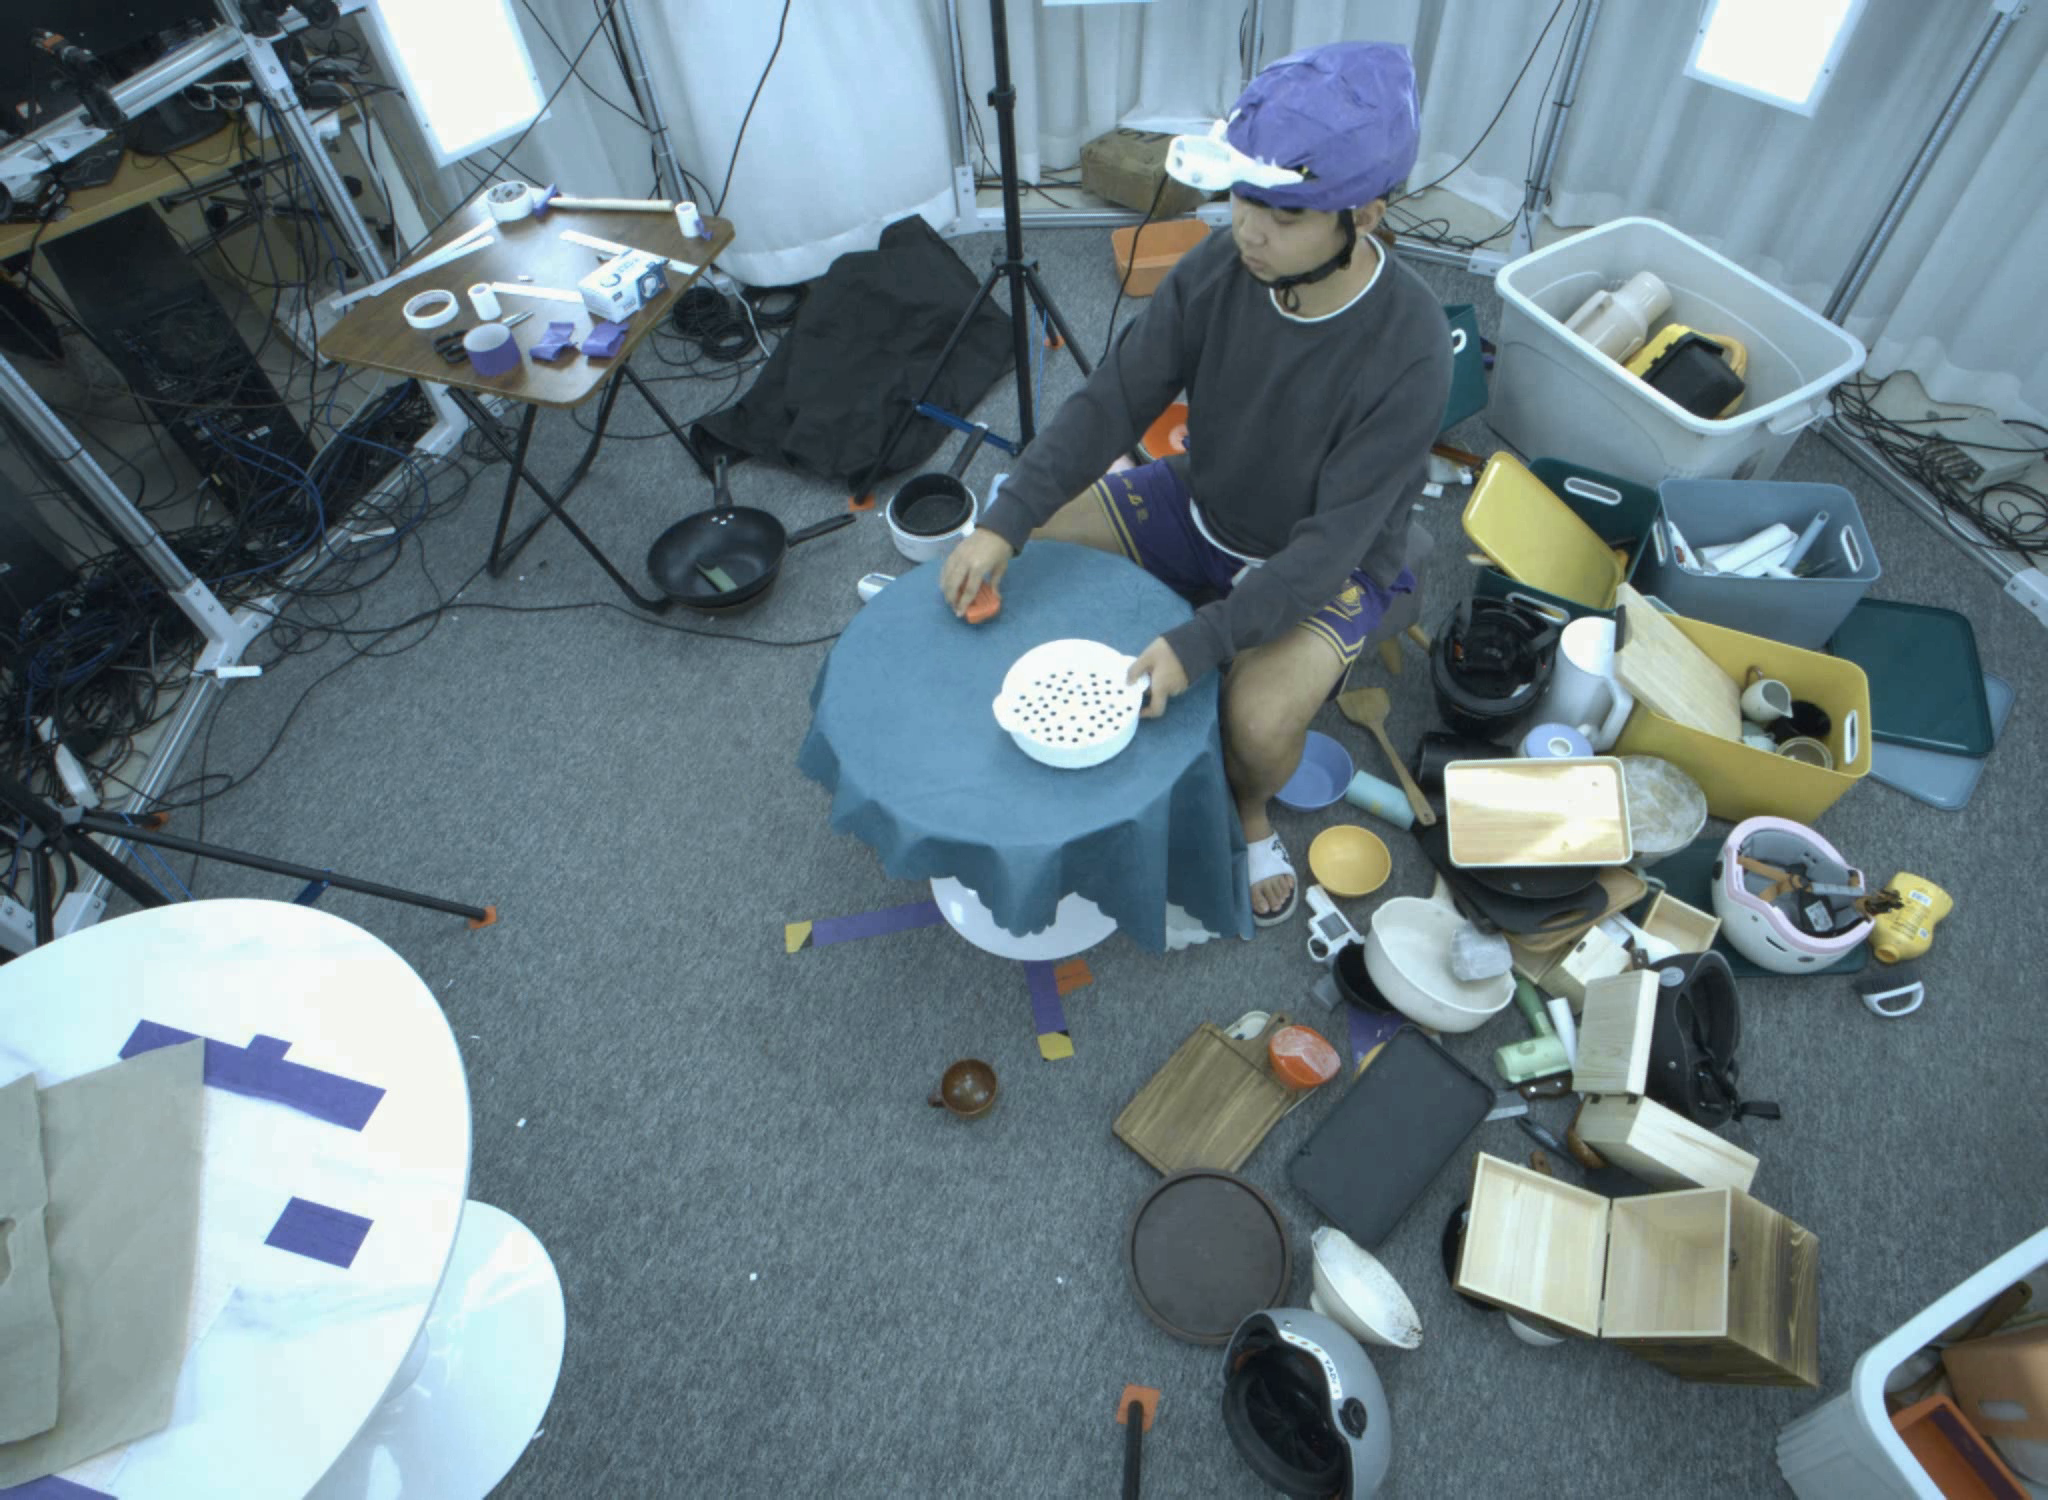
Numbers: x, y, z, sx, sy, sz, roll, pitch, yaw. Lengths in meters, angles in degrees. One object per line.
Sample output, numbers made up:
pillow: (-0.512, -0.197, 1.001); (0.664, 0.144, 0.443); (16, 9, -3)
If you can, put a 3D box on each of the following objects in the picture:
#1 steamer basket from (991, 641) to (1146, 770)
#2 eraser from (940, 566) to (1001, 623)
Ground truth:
steamer basket: (0.066, -0.063, 1.793); (0.232, 0.070, 0.198); (-19, 56, -10)
eraser: (-0.086, -0.248, 1.942); (0.059, 0.023, 0.106); (-23, 55, -24)
